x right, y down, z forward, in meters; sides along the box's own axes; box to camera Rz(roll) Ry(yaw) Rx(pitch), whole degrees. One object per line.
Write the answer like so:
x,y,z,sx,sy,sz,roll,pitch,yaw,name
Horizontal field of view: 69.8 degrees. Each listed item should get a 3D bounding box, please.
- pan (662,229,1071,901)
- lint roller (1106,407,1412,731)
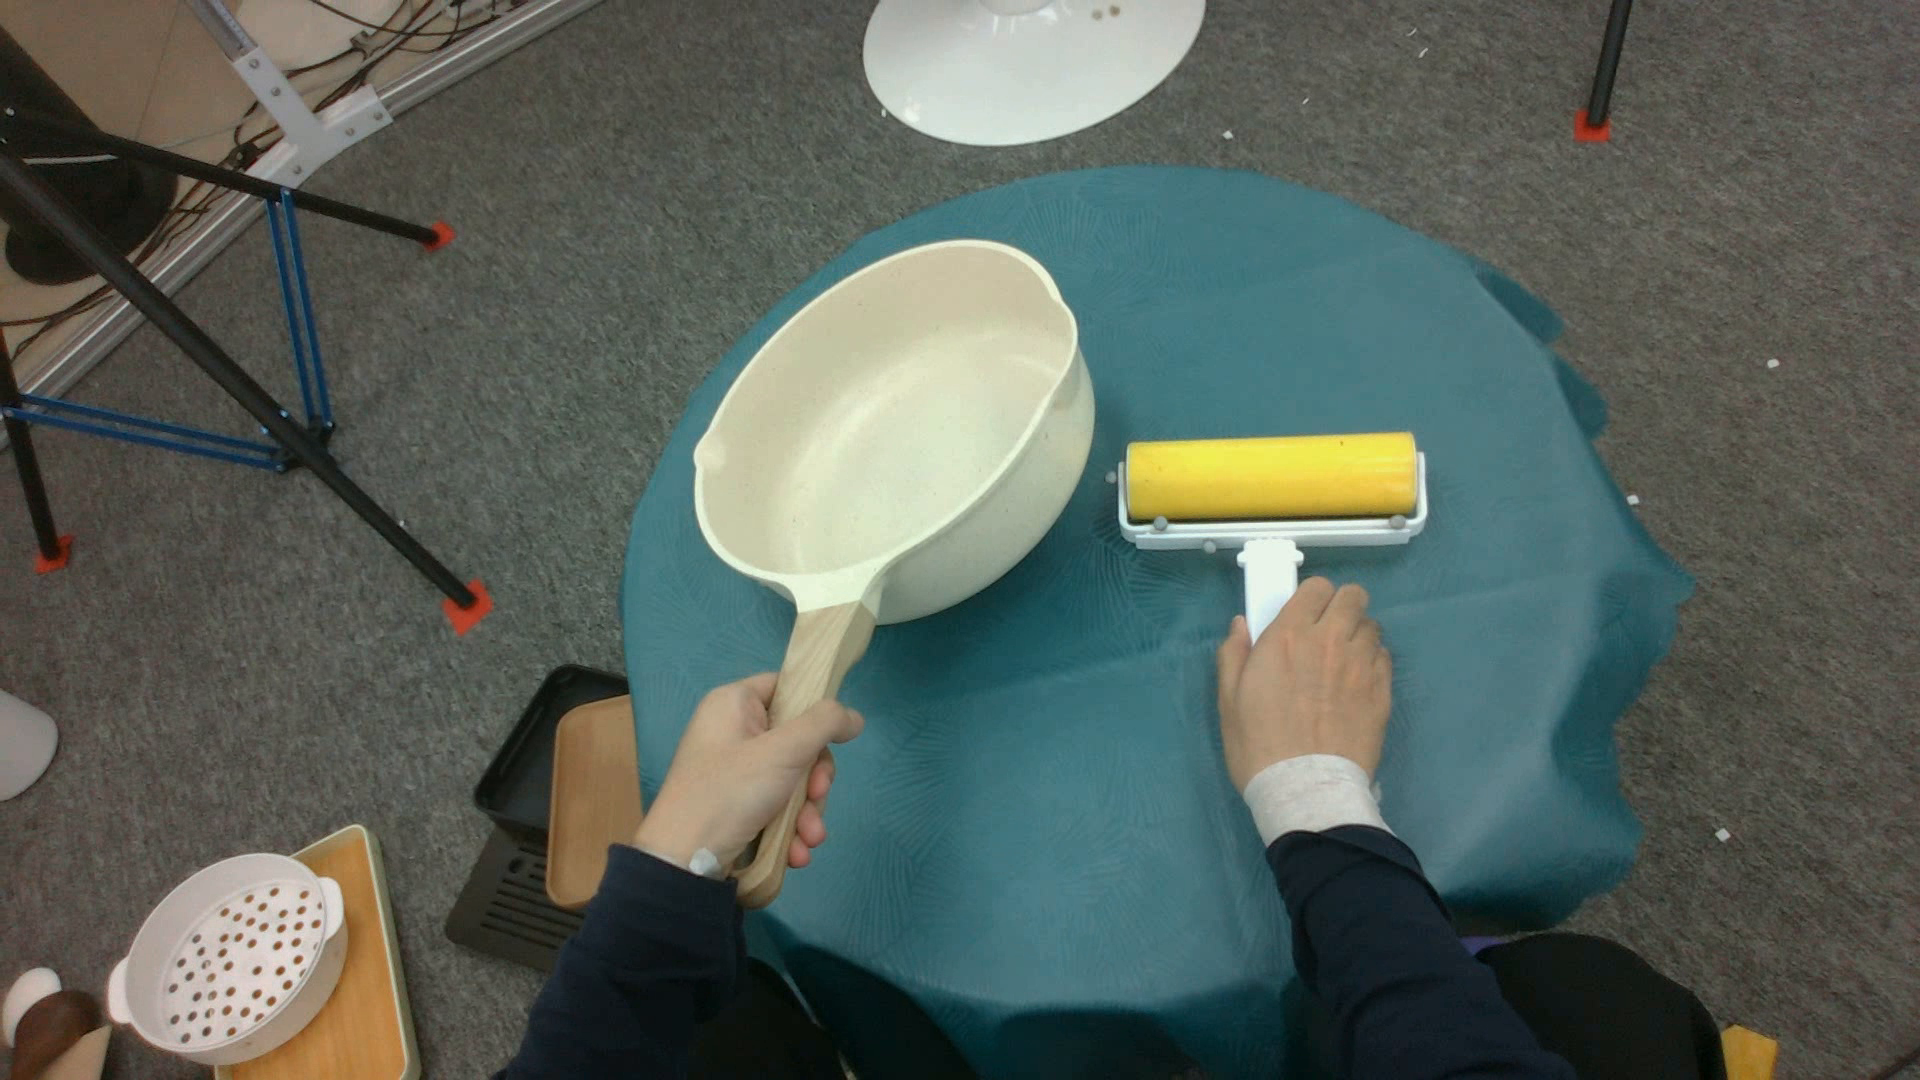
-0.060,0.004,0.767,0.263,0.102,0.437,-11,51,23,pan
0.168,0.010,0.766,0.174,0.051,0.193,-2,53,9,lint roller
